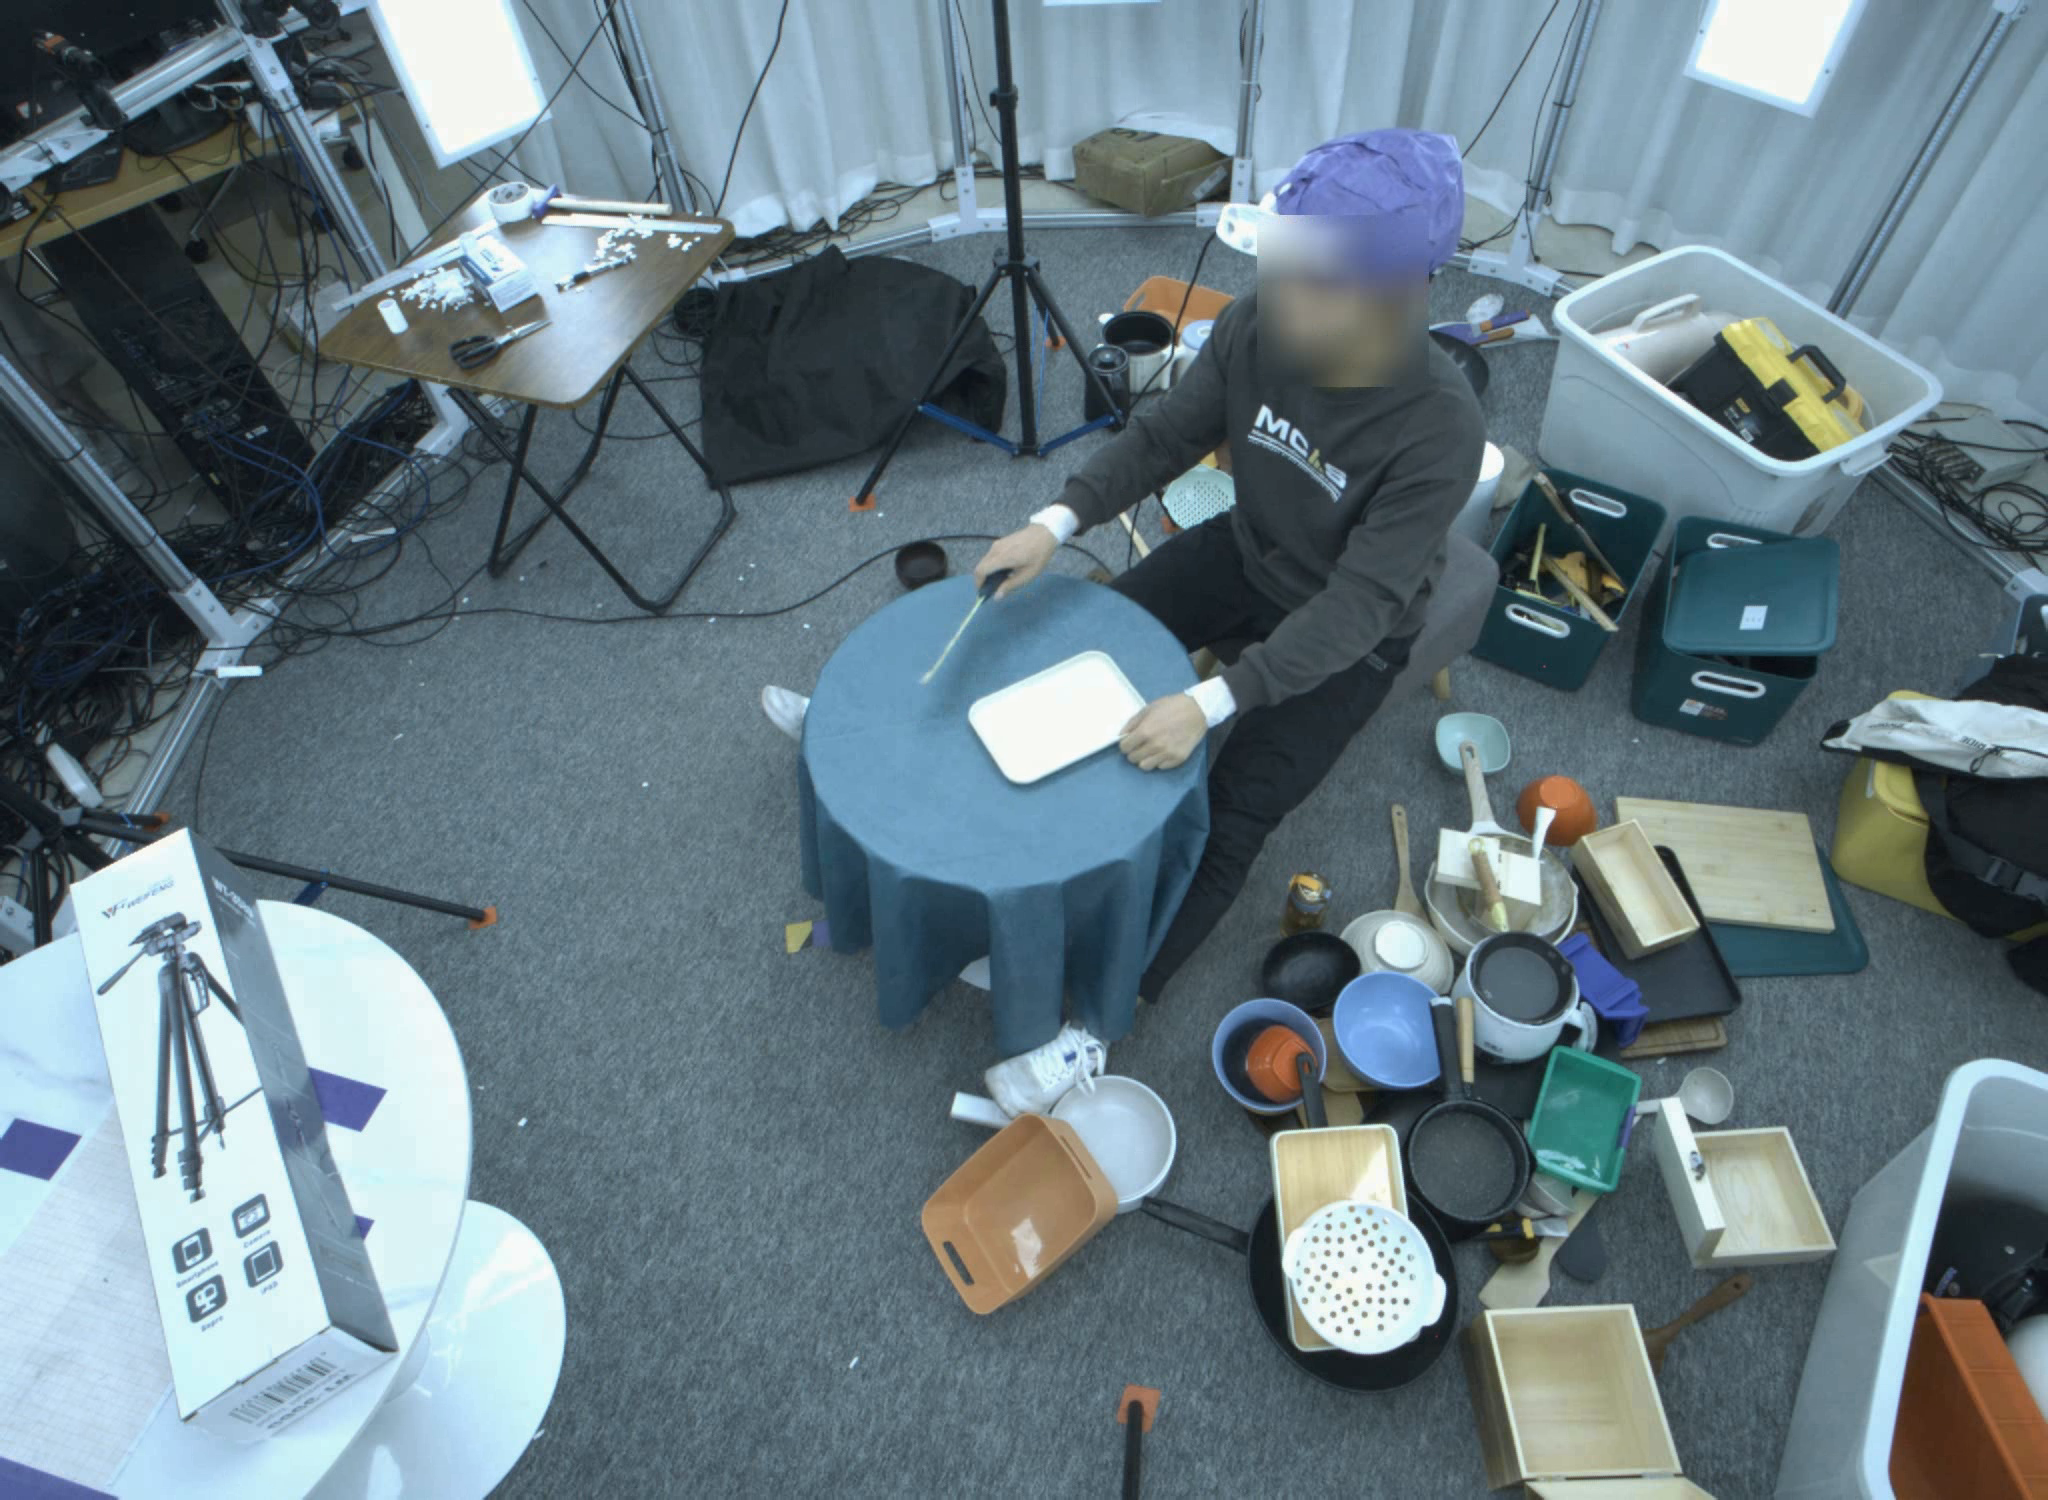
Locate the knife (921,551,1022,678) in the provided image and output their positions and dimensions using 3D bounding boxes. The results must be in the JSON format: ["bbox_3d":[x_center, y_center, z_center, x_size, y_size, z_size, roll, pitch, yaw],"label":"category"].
[{"bbox_3d":[-0.082,-0.207,1.871,0.027,0.080,0.290,40,56,-9],"label":"knife"}]

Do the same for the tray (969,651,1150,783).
[{"bbox_3d":[0.052,-0.049,1.817,0.241,0.017,0.168,-25,56,-15],"label":"tray"}]
